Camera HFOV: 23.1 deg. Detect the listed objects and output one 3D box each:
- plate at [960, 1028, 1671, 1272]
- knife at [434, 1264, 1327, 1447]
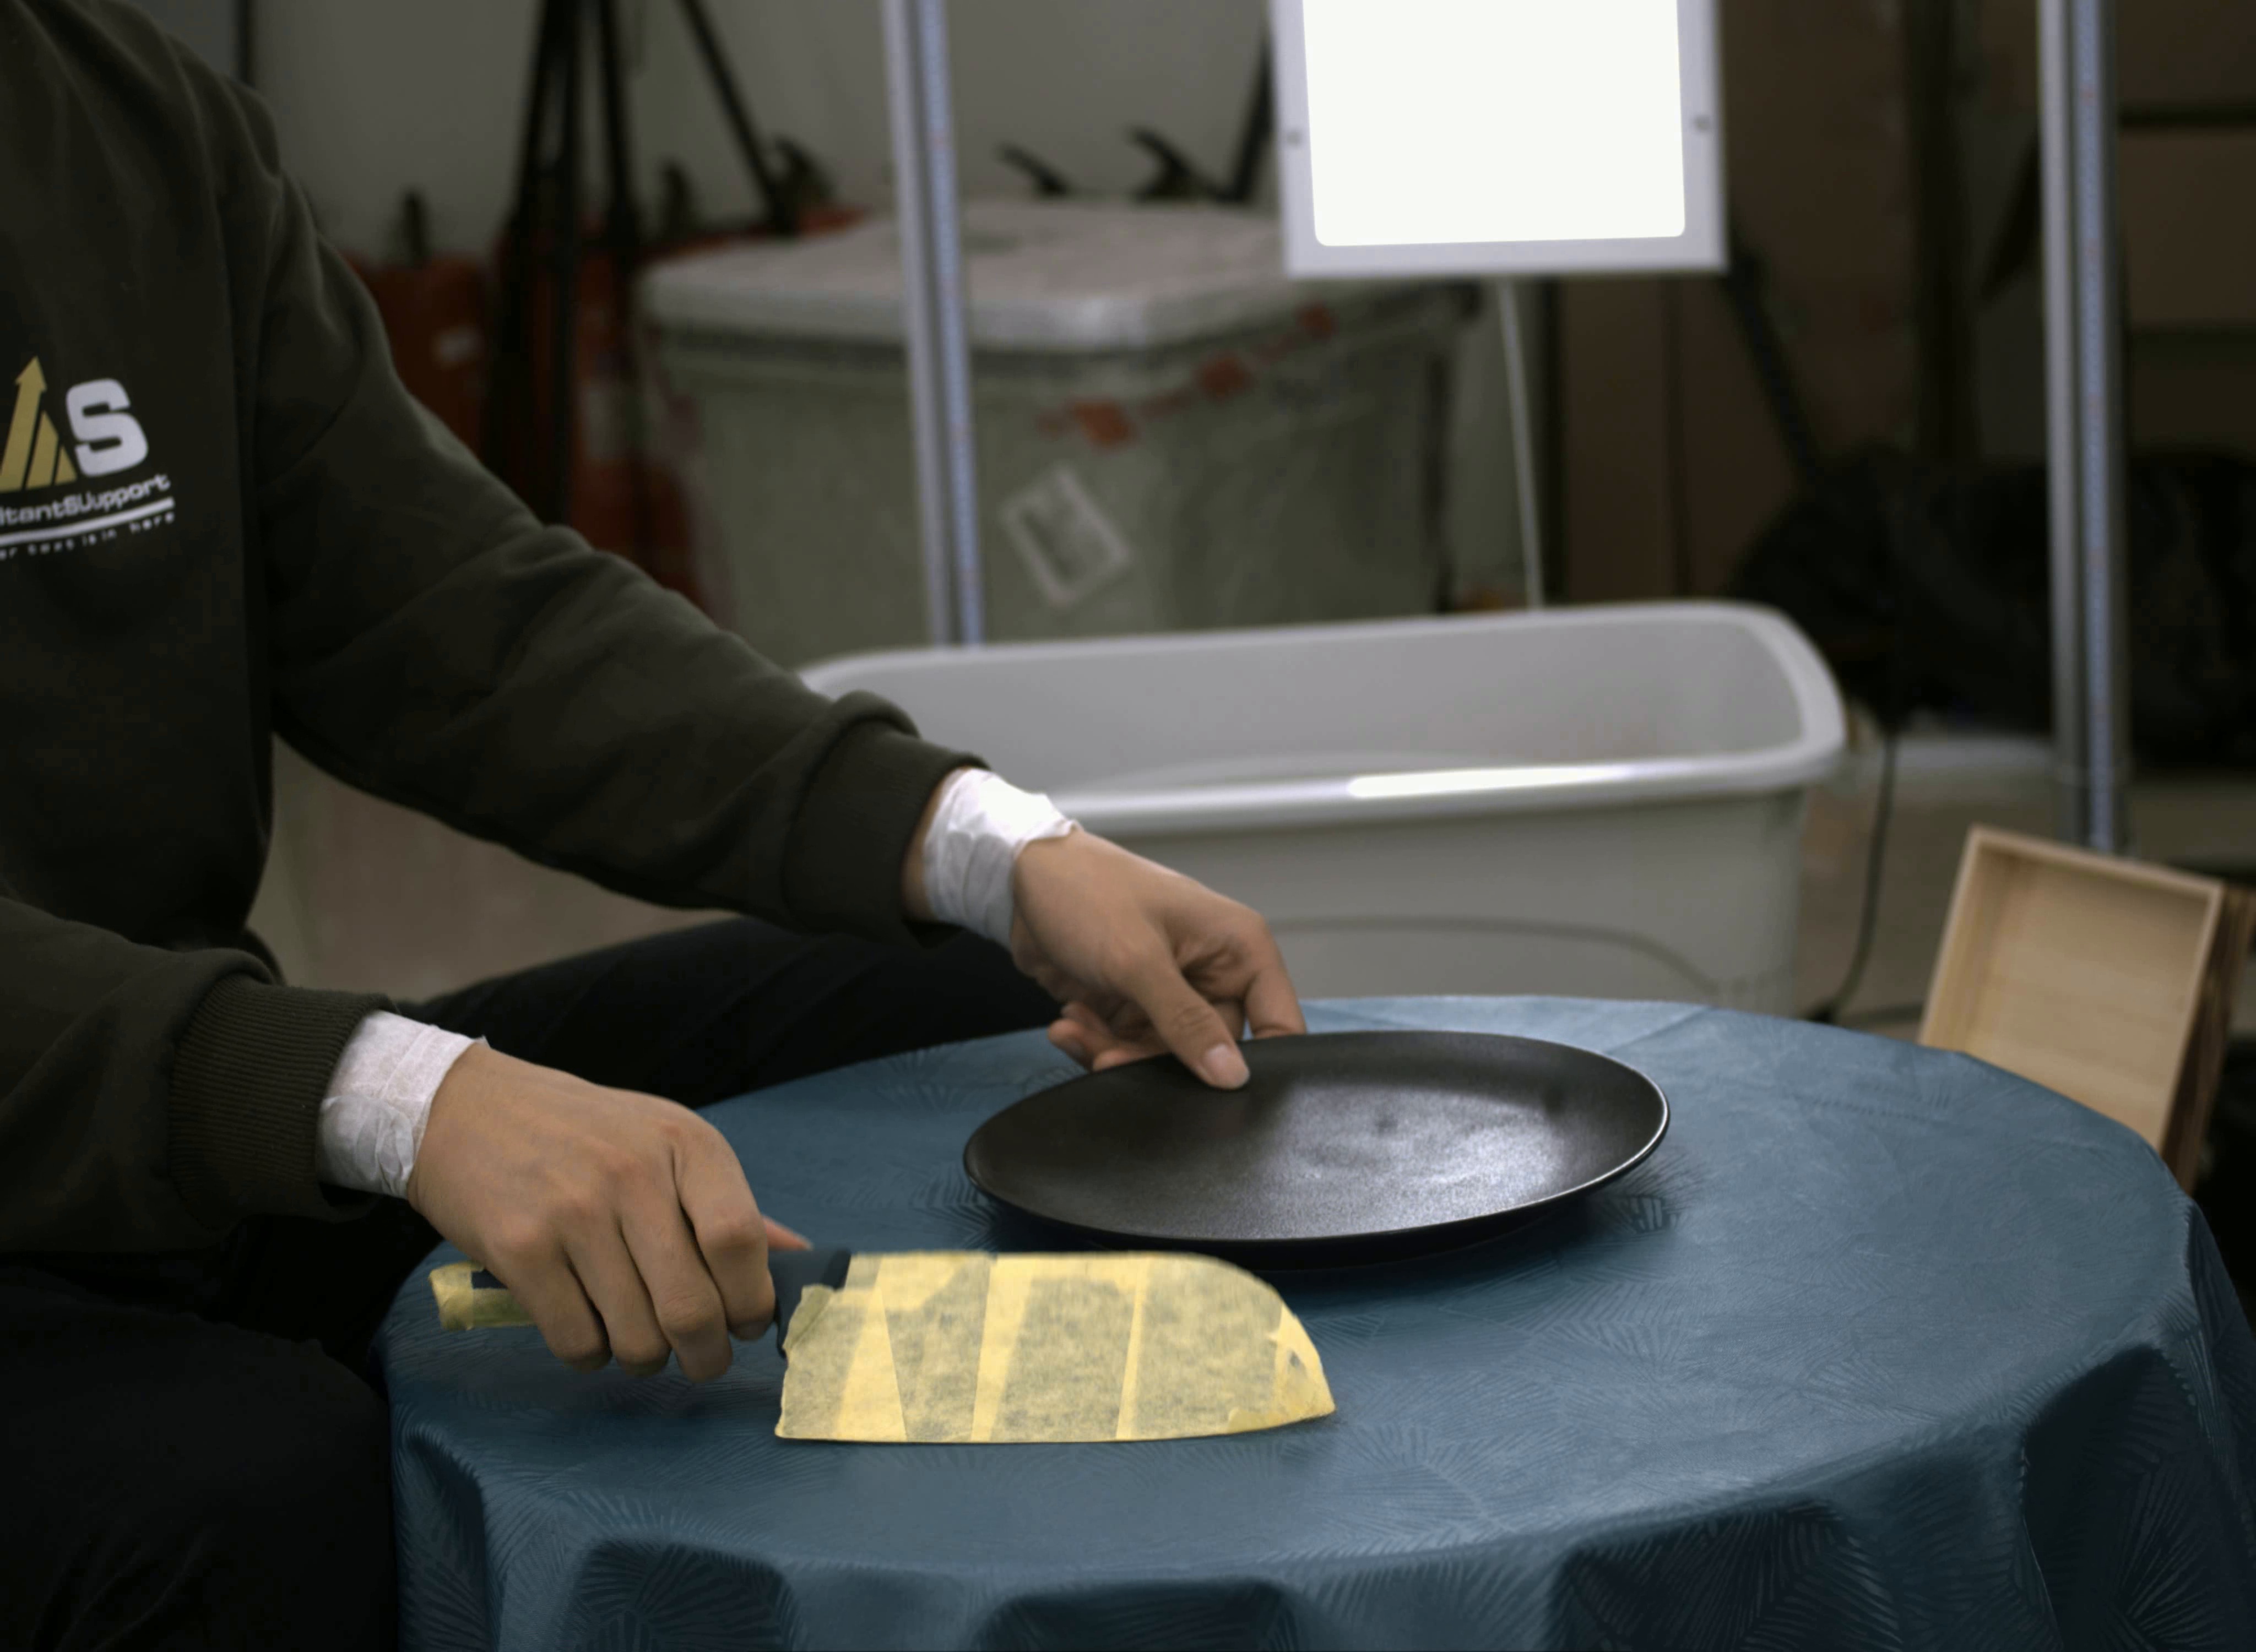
[{"bbox_3d":[0.065,0.113,1.884,0.244,0.023,0.244,-5,14,0],"label":"plate"},{"bbox_3d":[-0.079,0.163,1.704,0.292,0.027,0.080,0,40,15],"label":"knife"}]
